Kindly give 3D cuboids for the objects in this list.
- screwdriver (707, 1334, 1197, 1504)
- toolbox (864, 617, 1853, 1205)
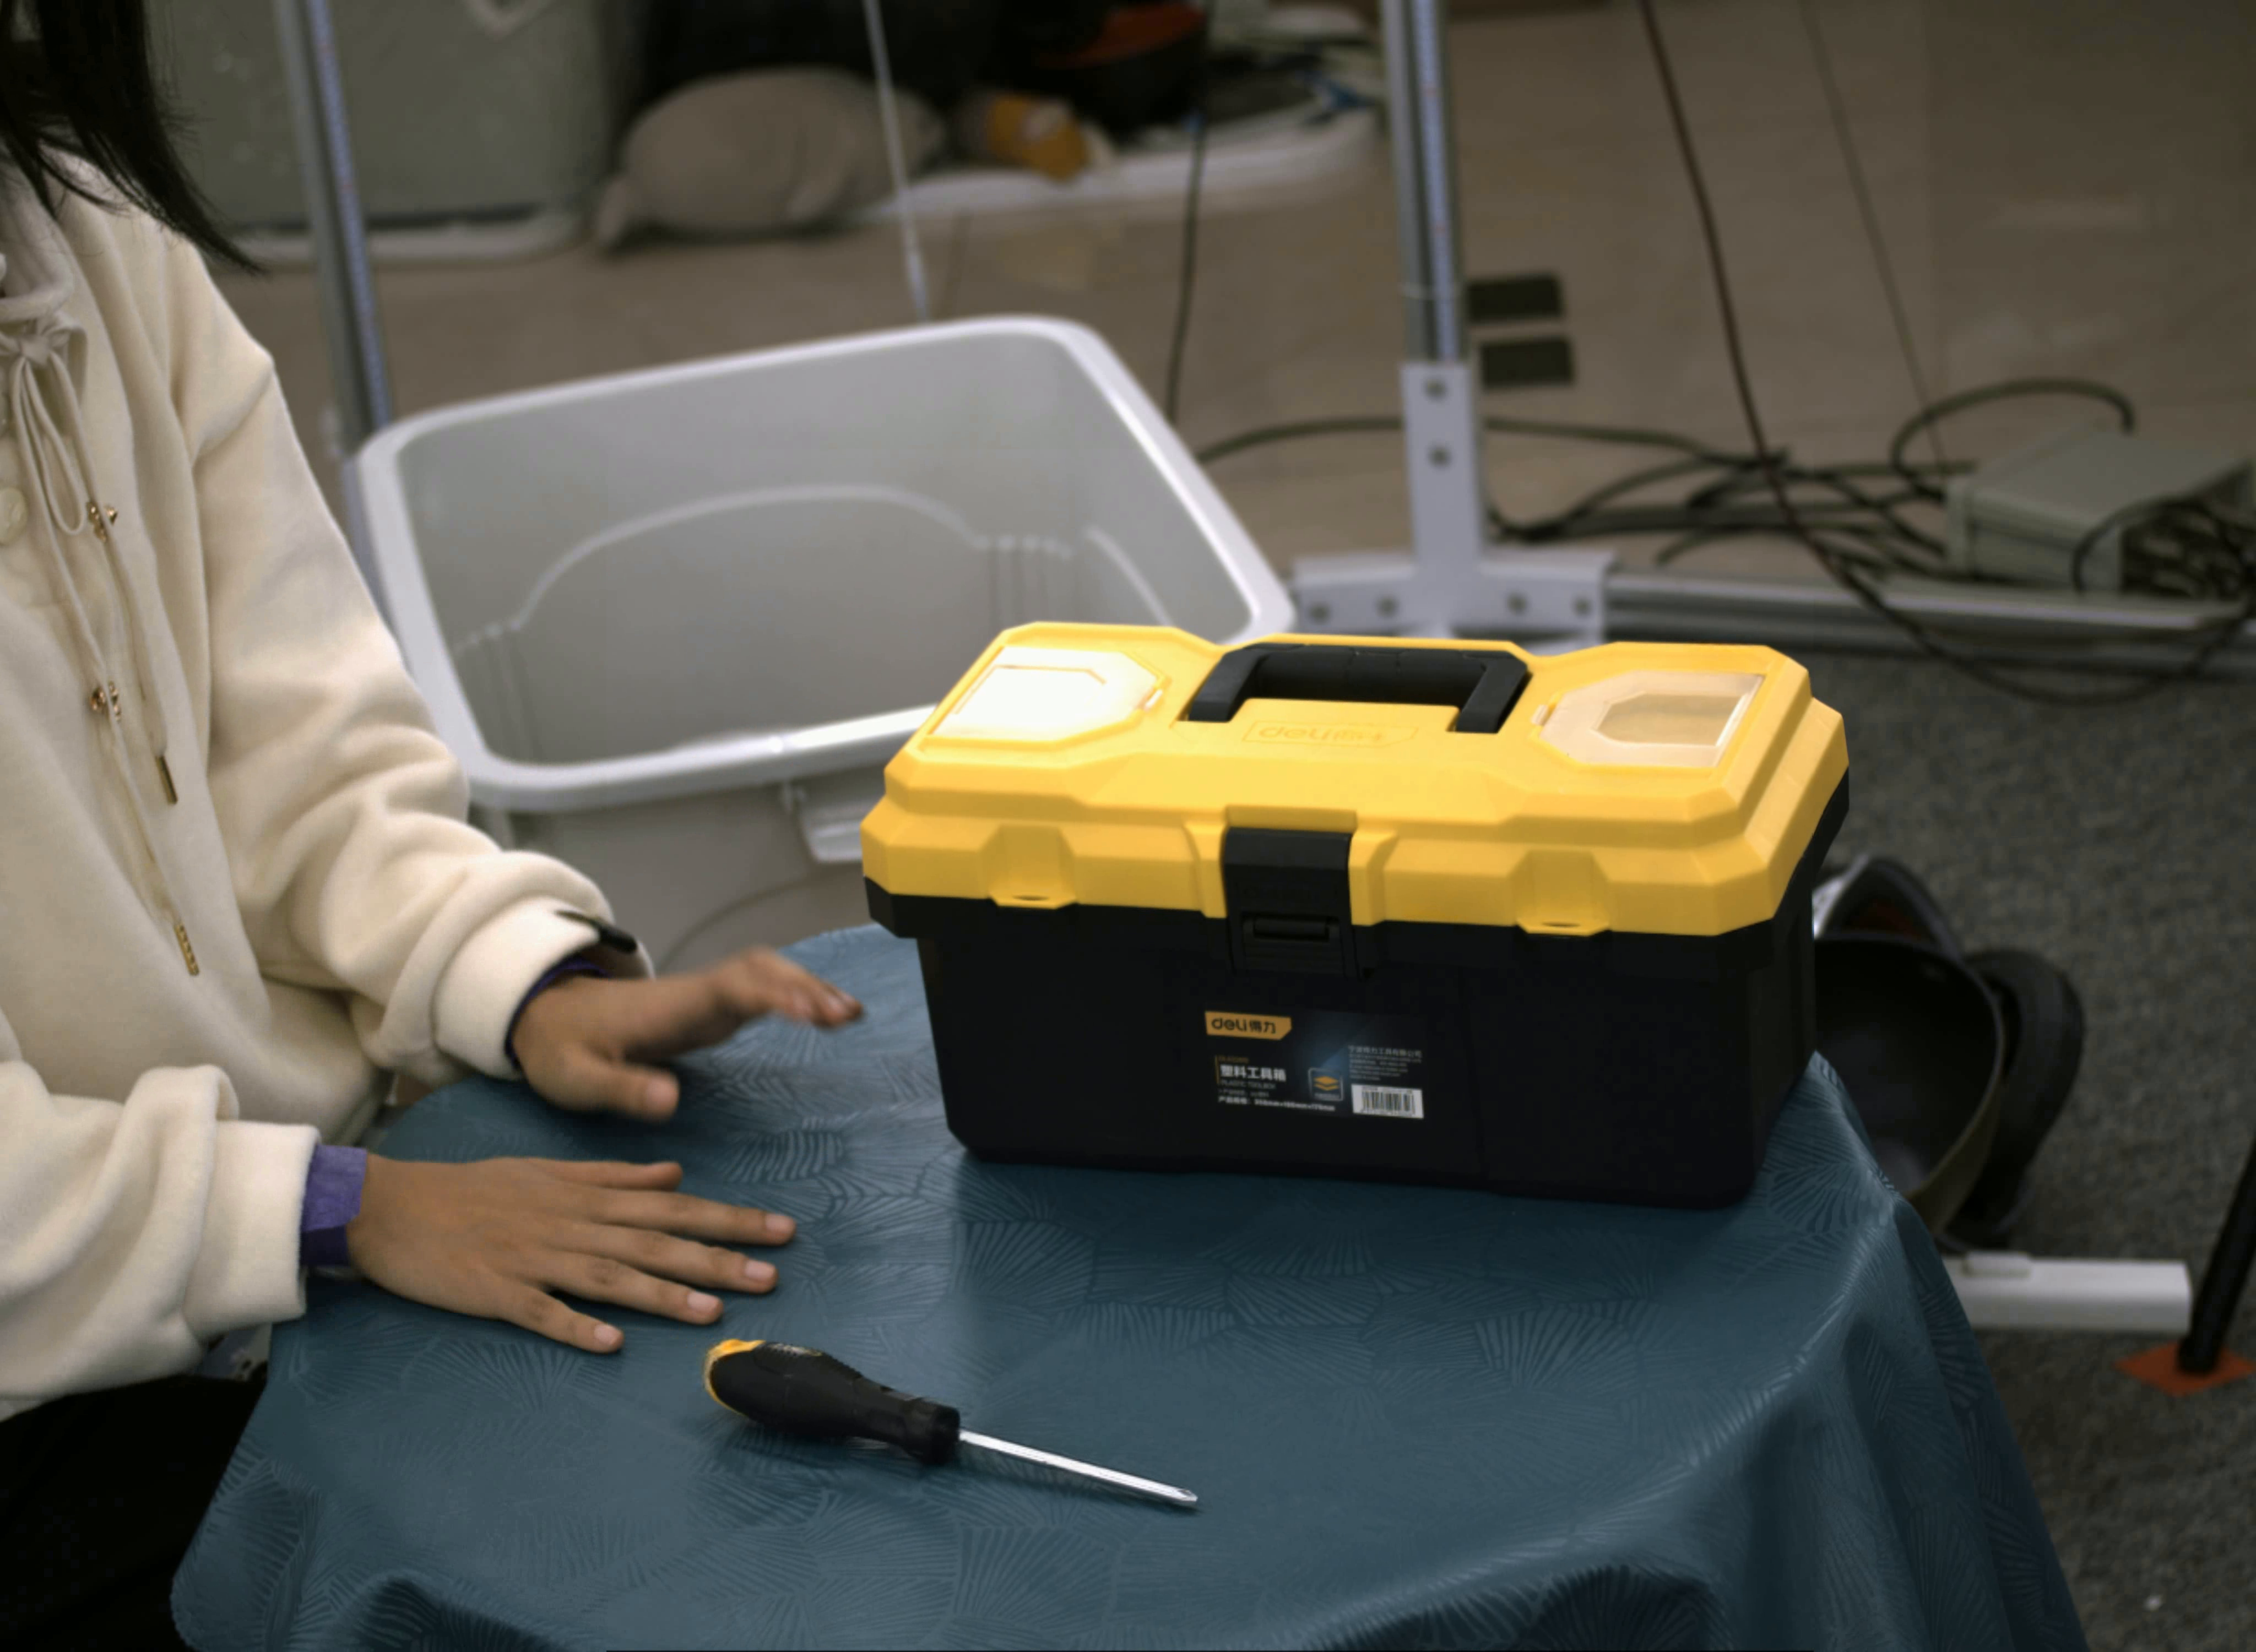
[{"bbox_3d":[-0.062,0.207,1.978,0.195,0.032,0.031,10,29,28],"label":"screwdriver"},{"bbox_3d":[0.090,0.031,2.148,0.350,0.175,0.179,3,27,20],"label":"toolbox"}]
